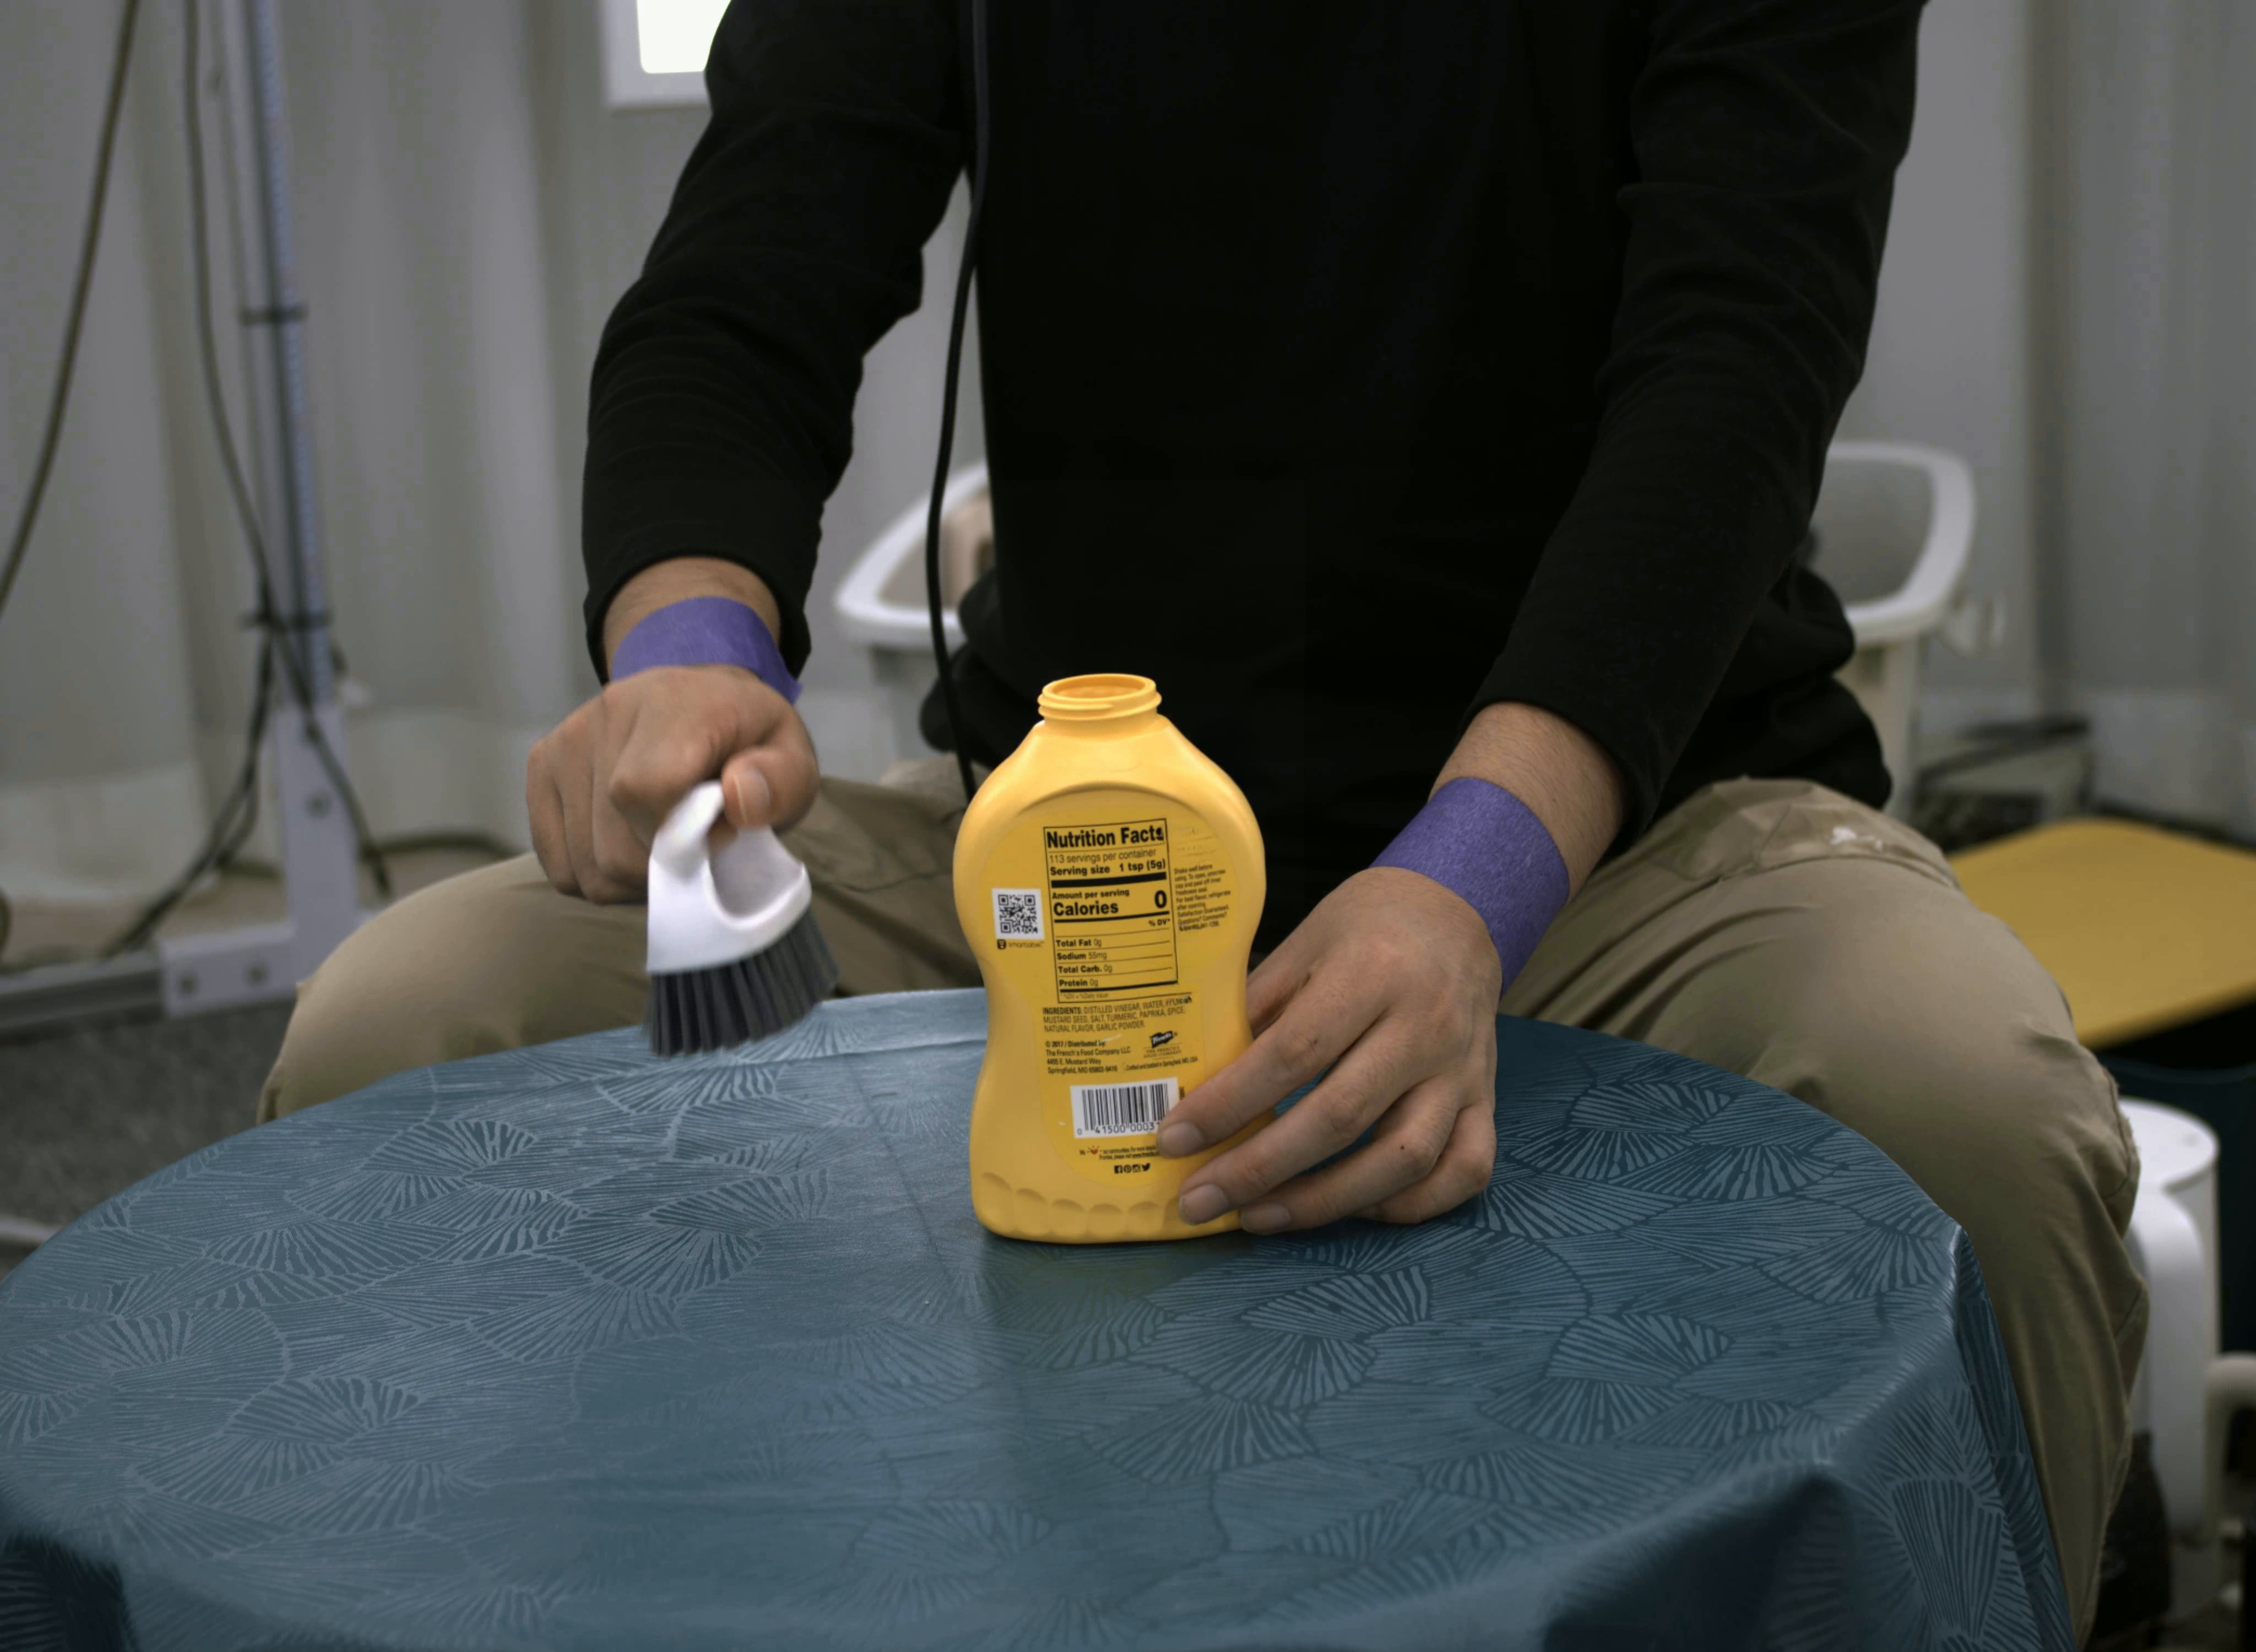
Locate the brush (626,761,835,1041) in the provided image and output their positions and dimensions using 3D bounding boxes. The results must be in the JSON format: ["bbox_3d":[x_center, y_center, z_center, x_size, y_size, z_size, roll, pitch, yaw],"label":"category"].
[{"bbox_3d":[-0.126,0.018,1.678,0.050,0.072,0.099,-11,11,13],"label":"brush"}]

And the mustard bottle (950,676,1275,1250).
[{"bbox_3d":[-0.006,0.041,1.669,0.098,0.171,0.059,-4,11,0],"label":"mustard bottle"}]
